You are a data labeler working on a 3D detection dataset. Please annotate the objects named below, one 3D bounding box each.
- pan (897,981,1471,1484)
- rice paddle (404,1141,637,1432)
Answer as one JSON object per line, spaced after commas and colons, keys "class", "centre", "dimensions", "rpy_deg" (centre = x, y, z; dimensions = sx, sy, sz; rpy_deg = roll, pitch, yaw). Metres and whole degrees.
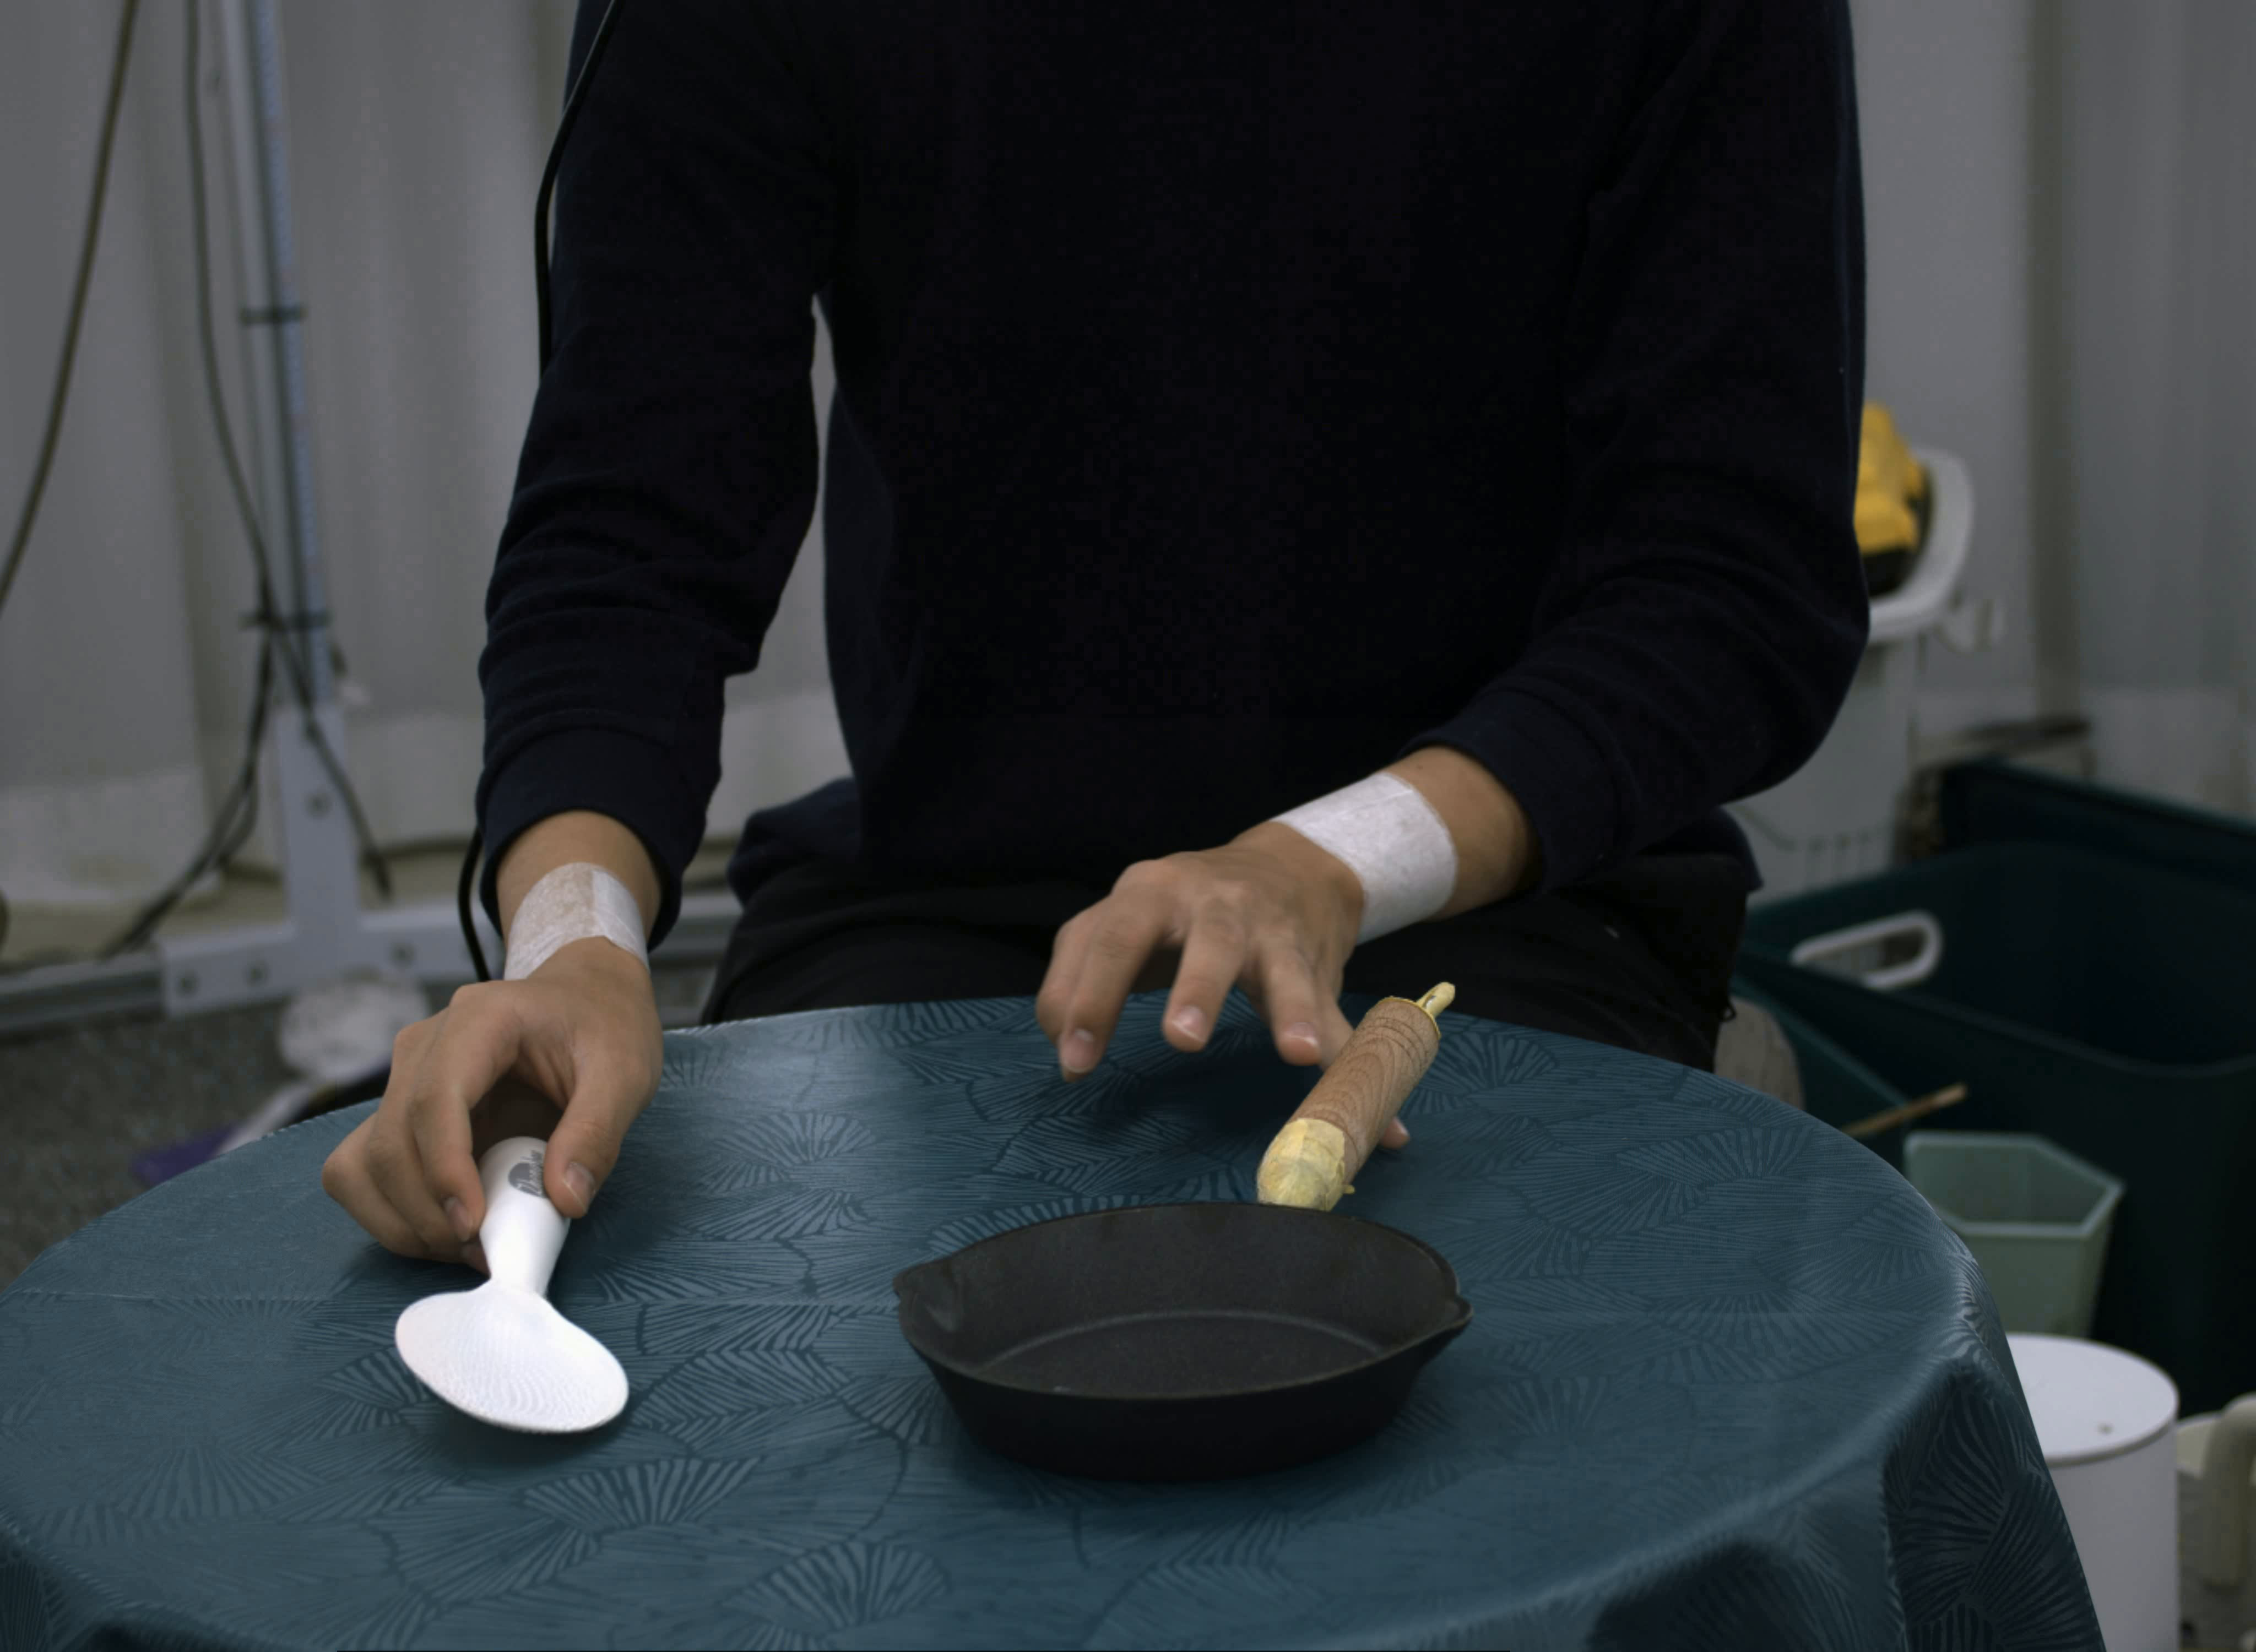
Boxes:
{"class": "pan", "centre": [0.045, 0.116, 1.605], "dimensions": [0.169, 0.049, 0.325], "rpy_deg": [3, 17, 21]}
{"class": "rice paddle", "centre": [-0.178, 0.137, 1.607], "dimensions": [0.068, 0.029, 0.207], "rpy_deg": [16, 12, -9]}
